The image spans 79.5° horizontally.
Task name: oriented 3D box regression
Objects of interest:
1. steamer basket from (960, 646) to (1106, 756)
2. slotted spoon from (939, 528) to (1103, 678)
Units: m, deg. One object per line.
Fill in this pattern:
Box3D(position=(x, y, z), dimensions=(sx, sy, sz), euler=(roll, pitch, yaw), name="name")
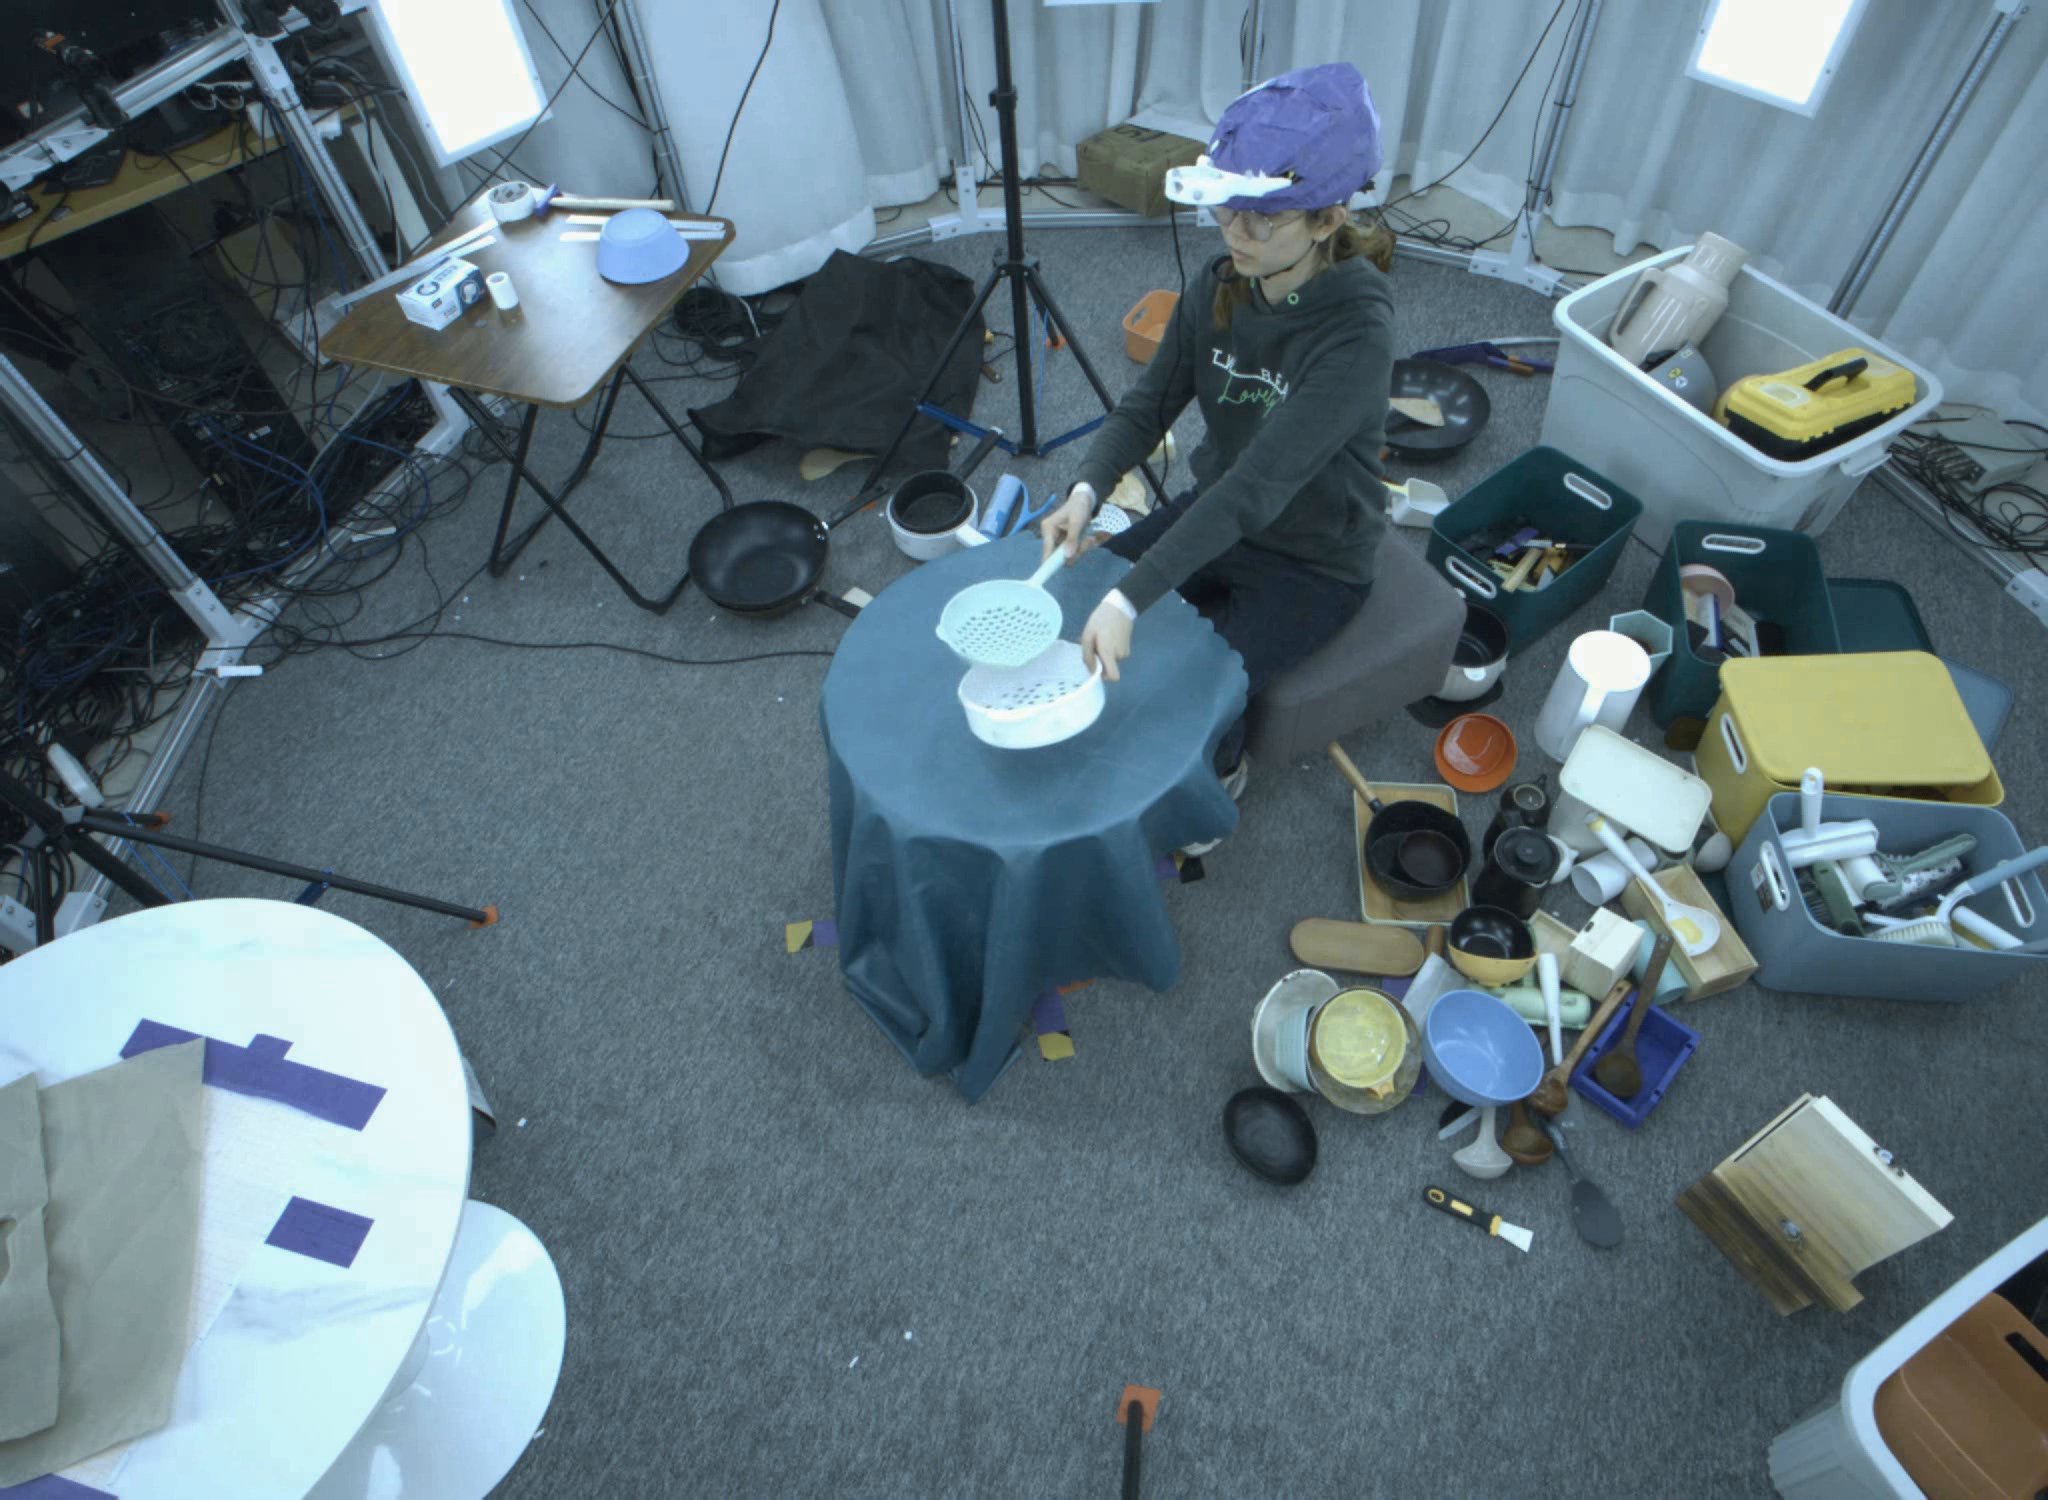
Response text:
Box3D(position=(0.015, -0.067, 1.715), dimensions=(0.200, 0.070, 0.230), euler=(-2, 32, 14), name="steamer basket")
Box3D(position=(0.022, -0.229, 1.777), dimensions=(0.167, 0.076, 0.359), euler=(24, 61, 18), name="slotted spoon")
